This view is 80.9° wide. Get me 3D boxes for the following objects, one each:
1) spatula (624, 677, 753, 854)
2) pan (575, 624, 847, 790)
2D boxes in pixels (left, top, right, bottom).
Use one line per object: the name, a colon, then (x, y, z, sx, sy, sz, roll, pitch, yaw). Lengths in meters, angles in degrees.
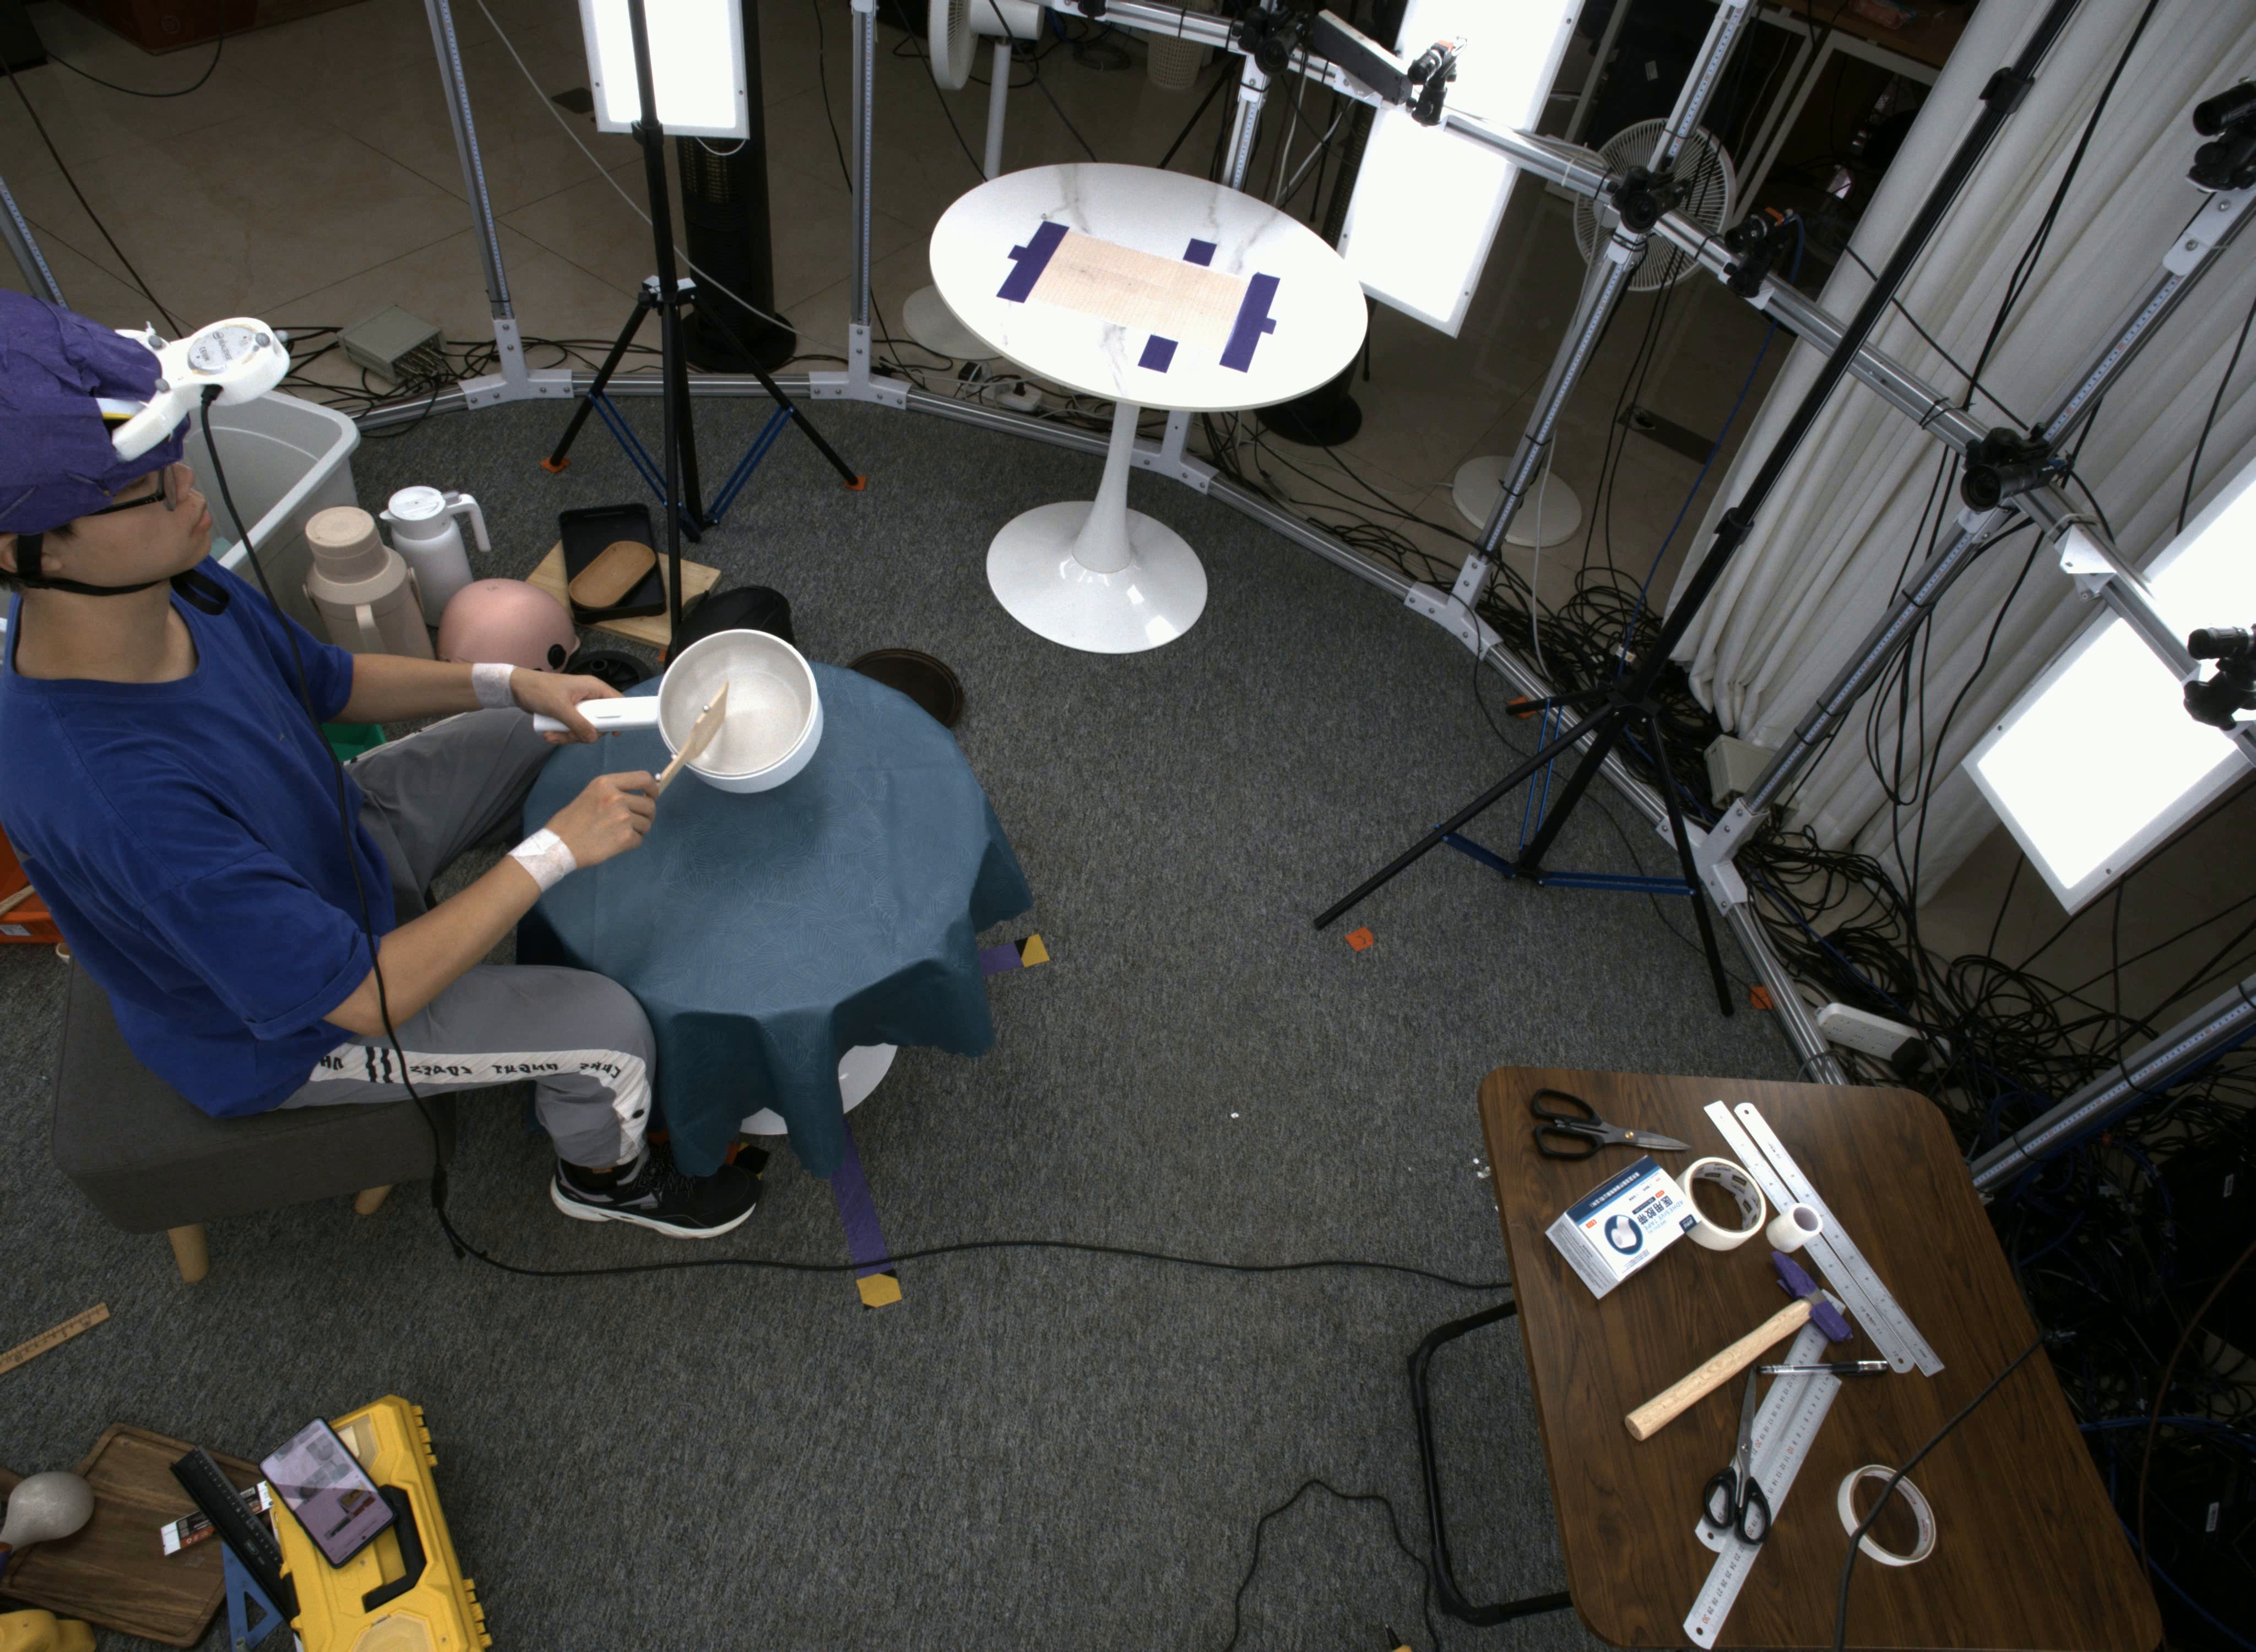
spatula: (-0.528, -0.072, 1.557, 0.010, 0.073, 0.290, 26, 48, 0)
pan: (-0.541, -0.145, 1.669, 0.352, 0.103, 0.201, -3, 78, -6)
